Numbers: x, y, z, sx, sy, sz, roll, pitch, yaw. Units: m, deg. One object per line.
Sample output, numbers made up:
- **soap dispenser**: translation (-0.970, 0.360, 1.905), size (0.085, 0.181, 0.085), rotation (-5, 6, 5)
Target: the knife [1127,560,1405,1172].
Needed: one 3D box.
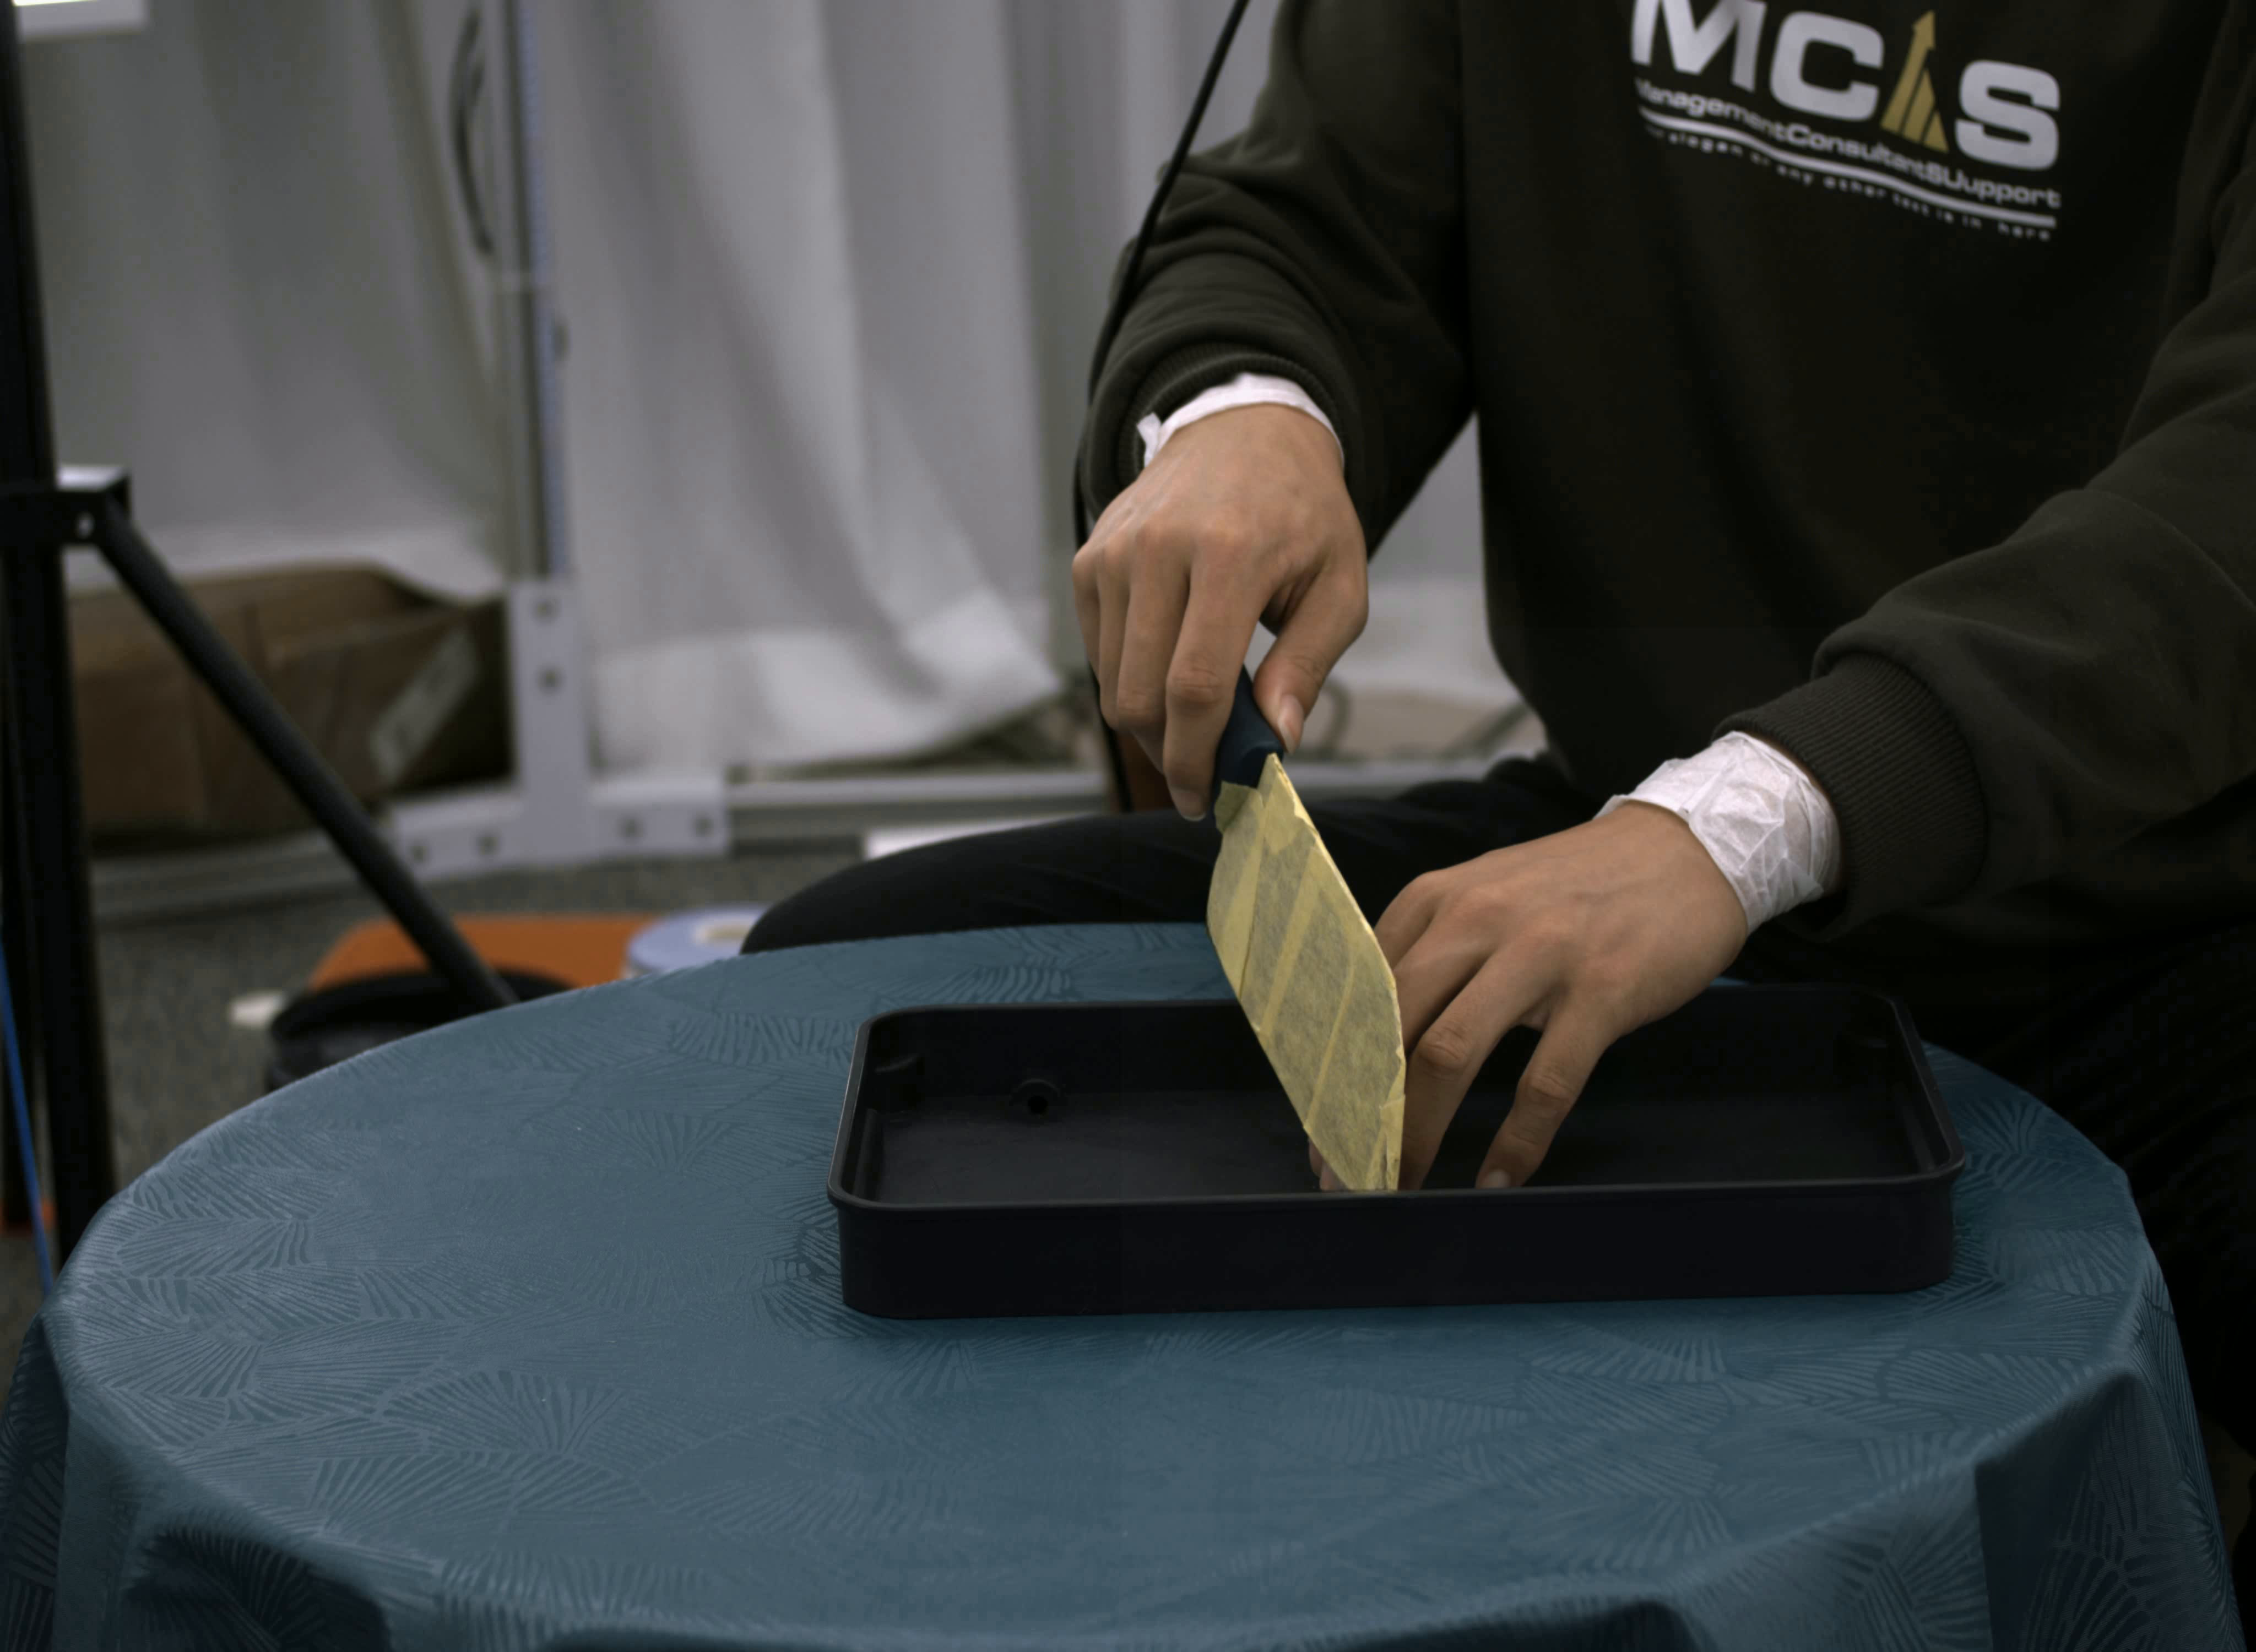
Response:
- **knife**: translation (0.039, 0.011, 1.594), size (0.027, 0.081, 0.294), rotation (7, 33, -20)

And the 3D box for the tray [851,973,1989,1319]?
- **tray**: translation (0.081, 0.091, 1.540), size (0.317, 0.037, 0.185), rotation (-2, 16, 1)
